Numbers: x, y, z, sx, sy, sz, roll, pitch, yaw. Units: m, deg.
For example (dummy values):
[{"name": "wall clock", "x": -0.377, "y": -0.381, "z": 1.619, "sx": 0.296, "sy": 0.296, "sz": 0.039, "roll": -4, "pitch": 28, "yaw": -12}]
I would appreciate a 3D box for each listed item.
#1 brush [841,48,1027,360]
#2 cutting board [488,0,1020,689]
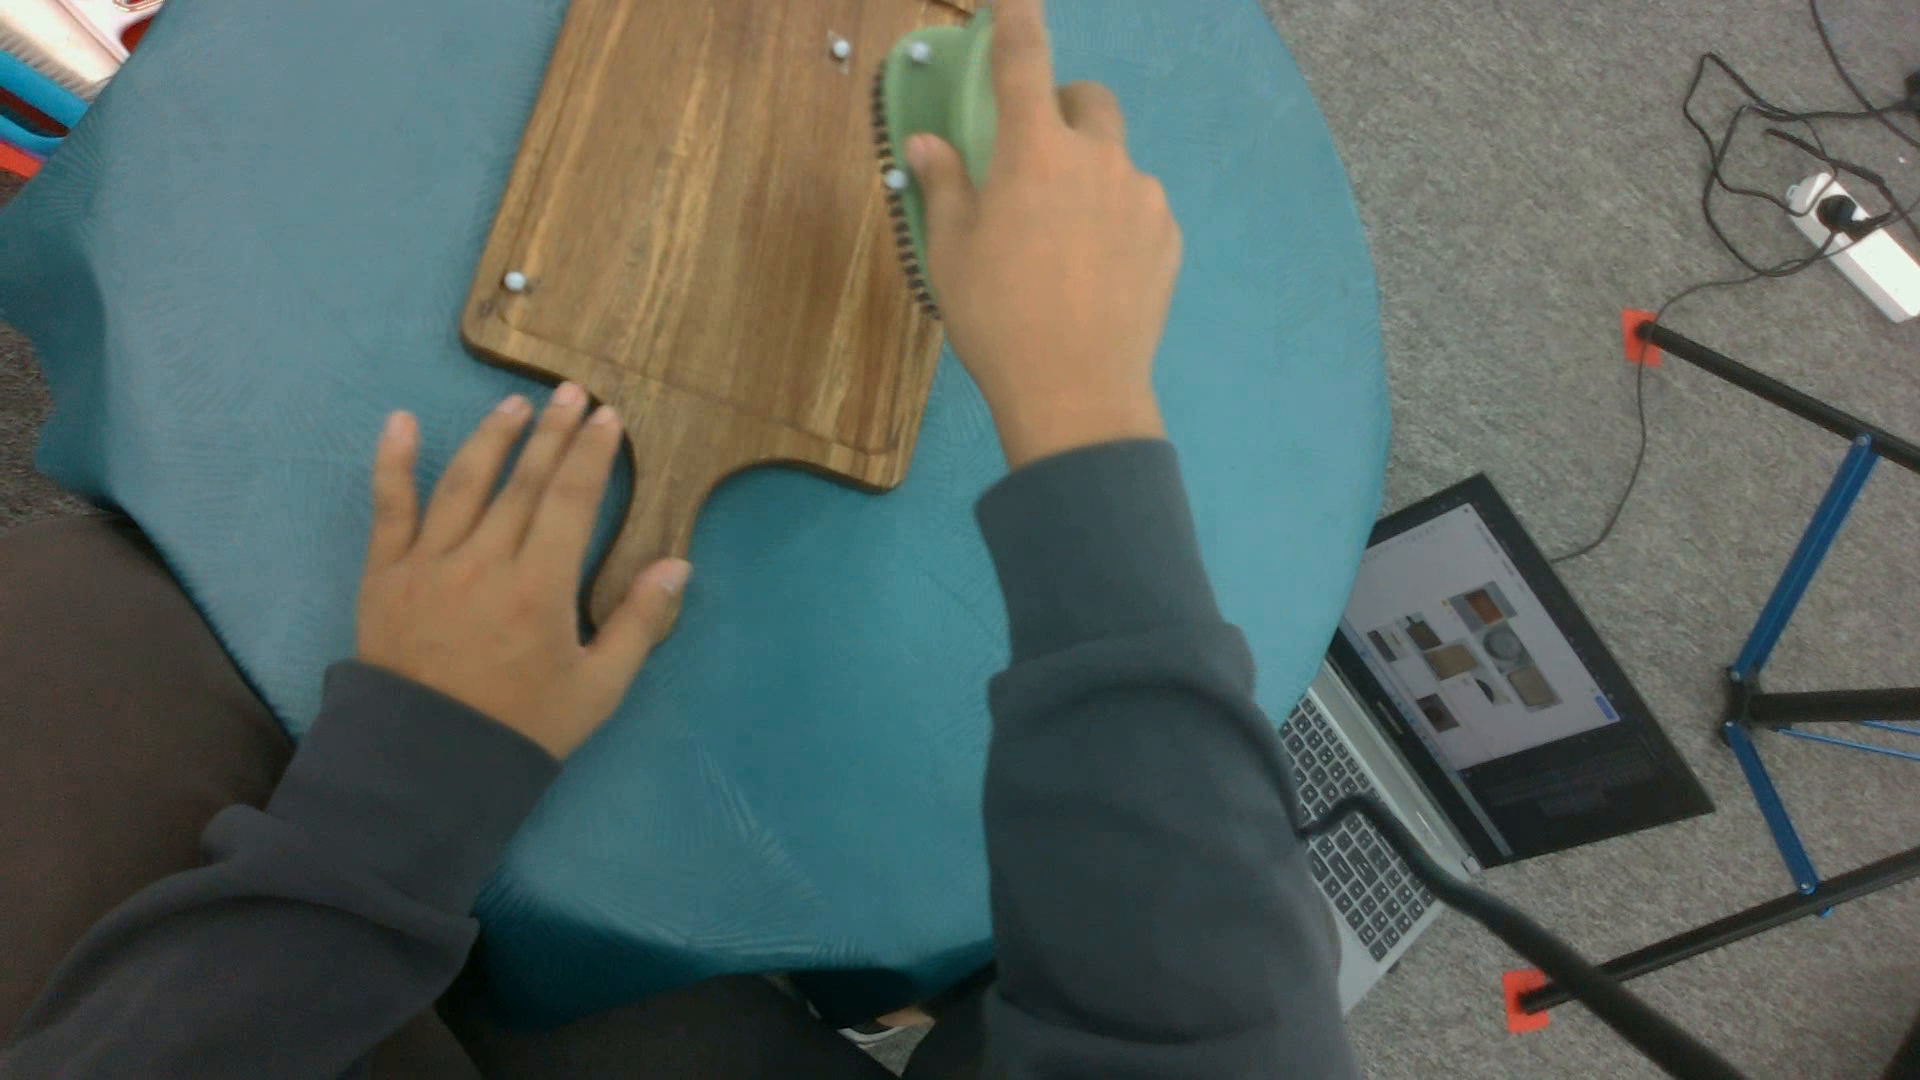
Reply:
[{"name": "brush", "x": -0.010, "y": -0.137, "z": 0.568, "sx": 0.060, "sy": 0.075, "sz": 0.122, "roll": -18, "pitch": 113, "yaw": -29}, {"name": "cutting board", "x": -0.097, "y": -0.105, "z": 0.629, "sx": 0.201, "sy": 0.023, "sz": 0.353, "roll": 17, "pitch": 75, "yaw": -15}]
